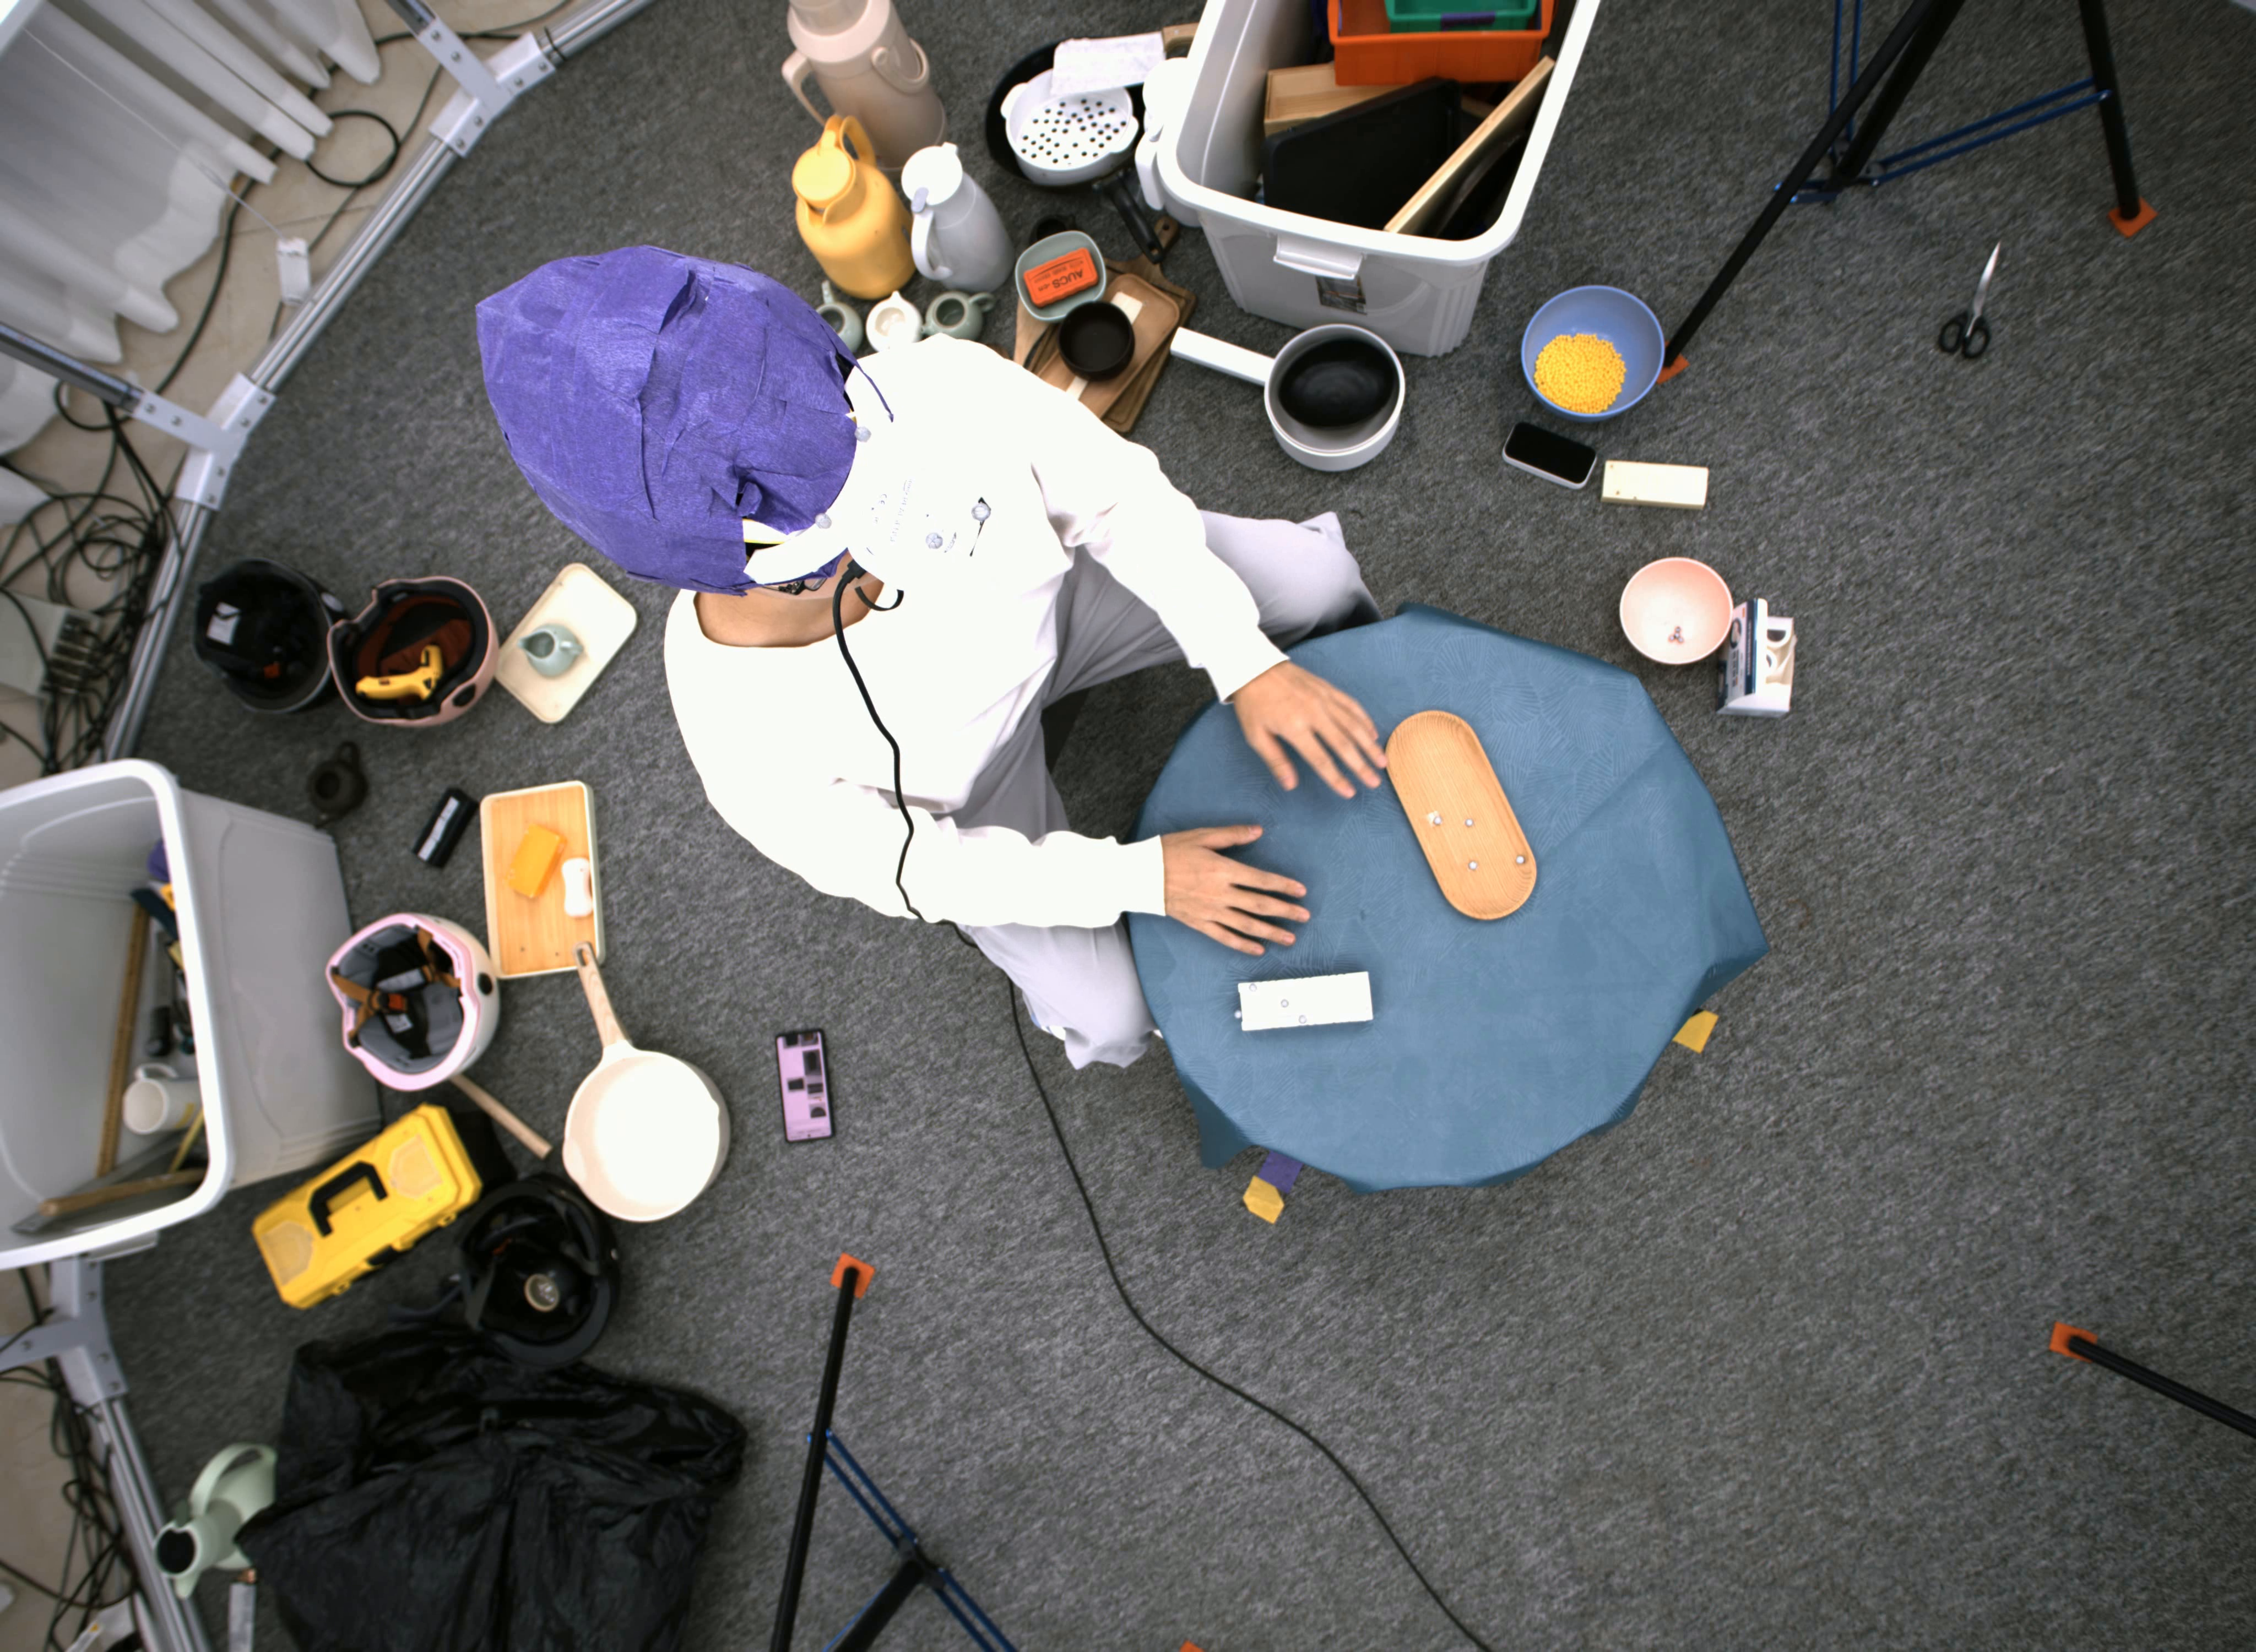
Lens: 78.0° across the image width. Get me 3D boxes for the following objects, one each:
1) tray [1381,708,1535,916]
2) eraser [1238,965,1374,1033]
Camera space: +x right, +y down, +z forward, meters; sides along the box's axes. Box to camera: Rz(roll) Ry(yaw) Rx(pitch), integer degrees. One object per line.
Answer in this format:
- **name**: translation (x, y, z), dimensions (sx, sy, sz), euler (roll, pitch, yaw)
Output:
- **tray**: translation (0.346, -0.017, 1.442), dimensions (0.102, 0.020, 0.229), euler (-25, 81, 8)
- **eraser**: translation (0.185, 0.180, 1.445), dimensions (0.135, 0.047, 0.049), euler (-11, 78, 10)
